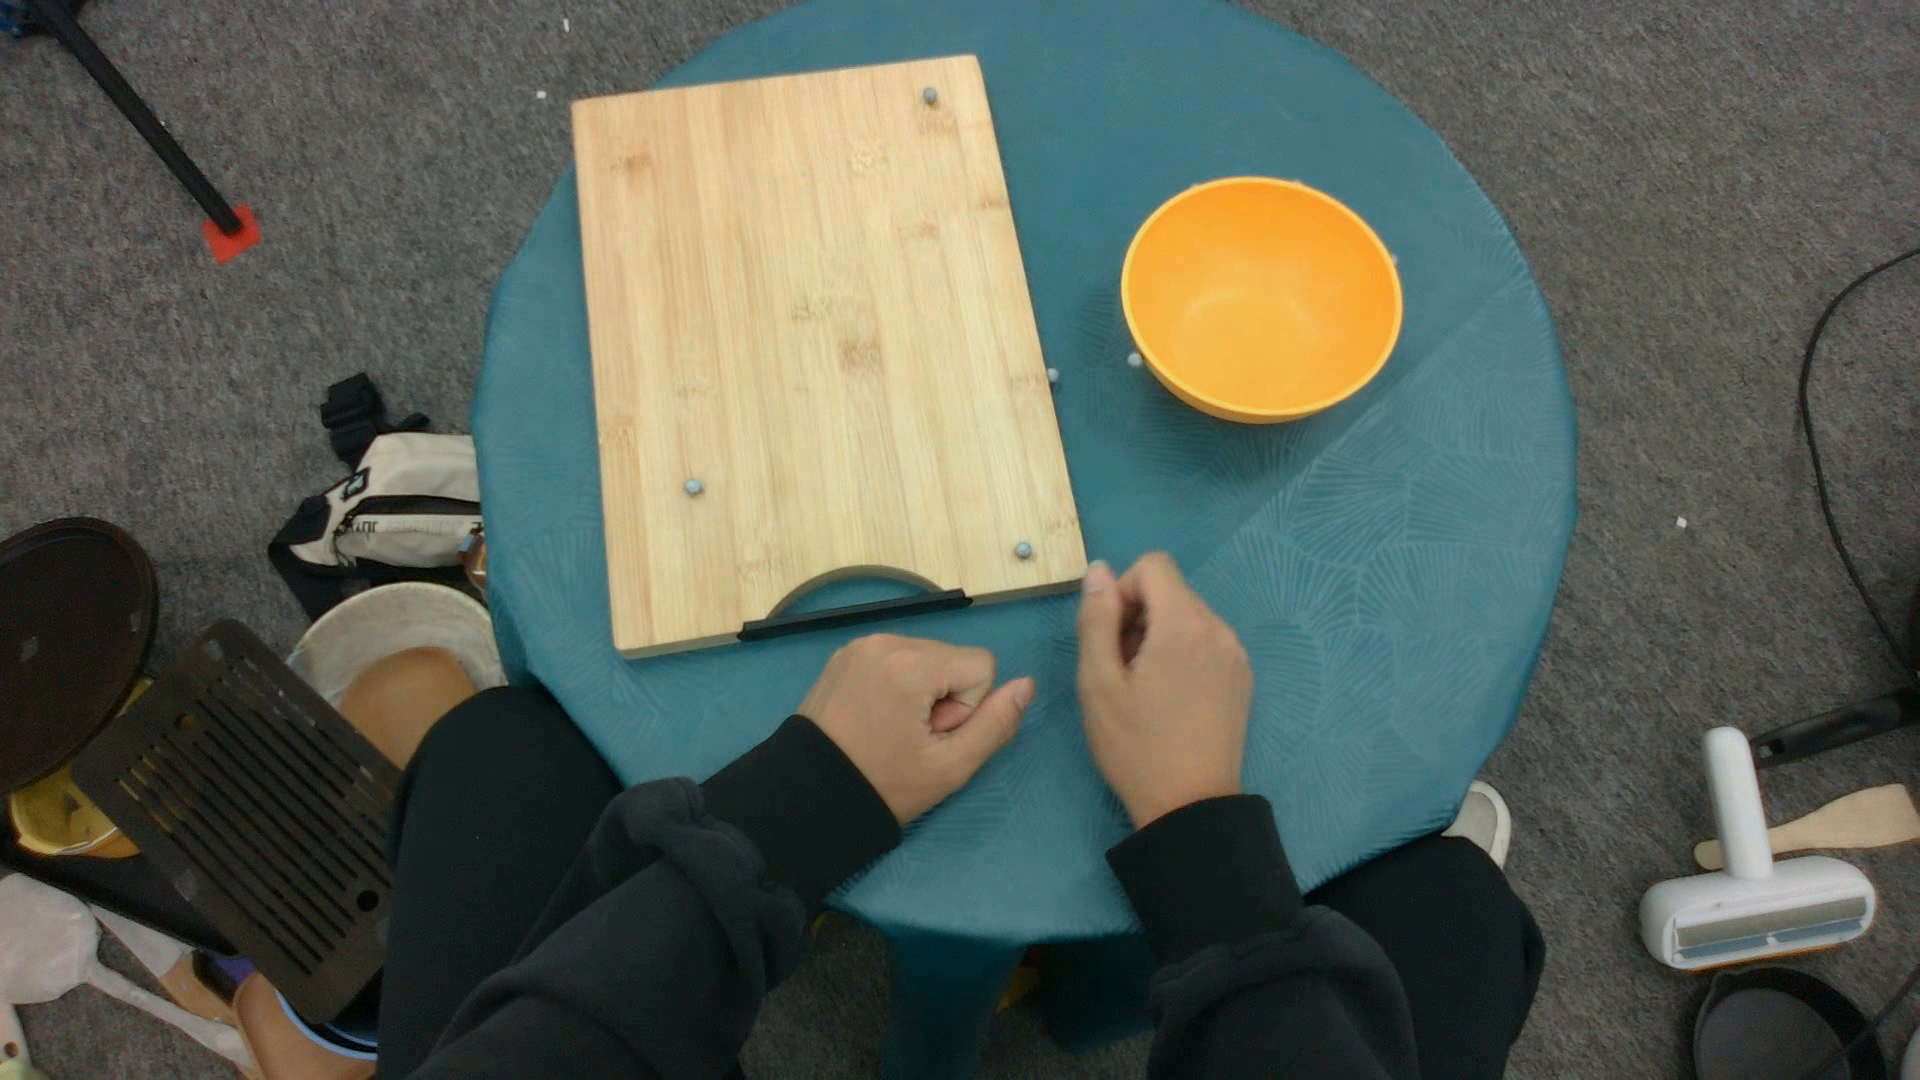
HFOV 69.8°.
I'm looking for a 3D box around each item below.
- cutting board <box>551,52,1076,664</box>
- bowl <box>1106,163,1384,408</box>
[{"bbox_3d":[-0.090,-0.117,0.754,0.251,0.023,0.349,-10,68,-6],"label":"cutting board"},{"bbox_3d":[0.149,-0.127,0.745,0.145,0.060,0.146,0,69,1],"label":"bowl"}]
